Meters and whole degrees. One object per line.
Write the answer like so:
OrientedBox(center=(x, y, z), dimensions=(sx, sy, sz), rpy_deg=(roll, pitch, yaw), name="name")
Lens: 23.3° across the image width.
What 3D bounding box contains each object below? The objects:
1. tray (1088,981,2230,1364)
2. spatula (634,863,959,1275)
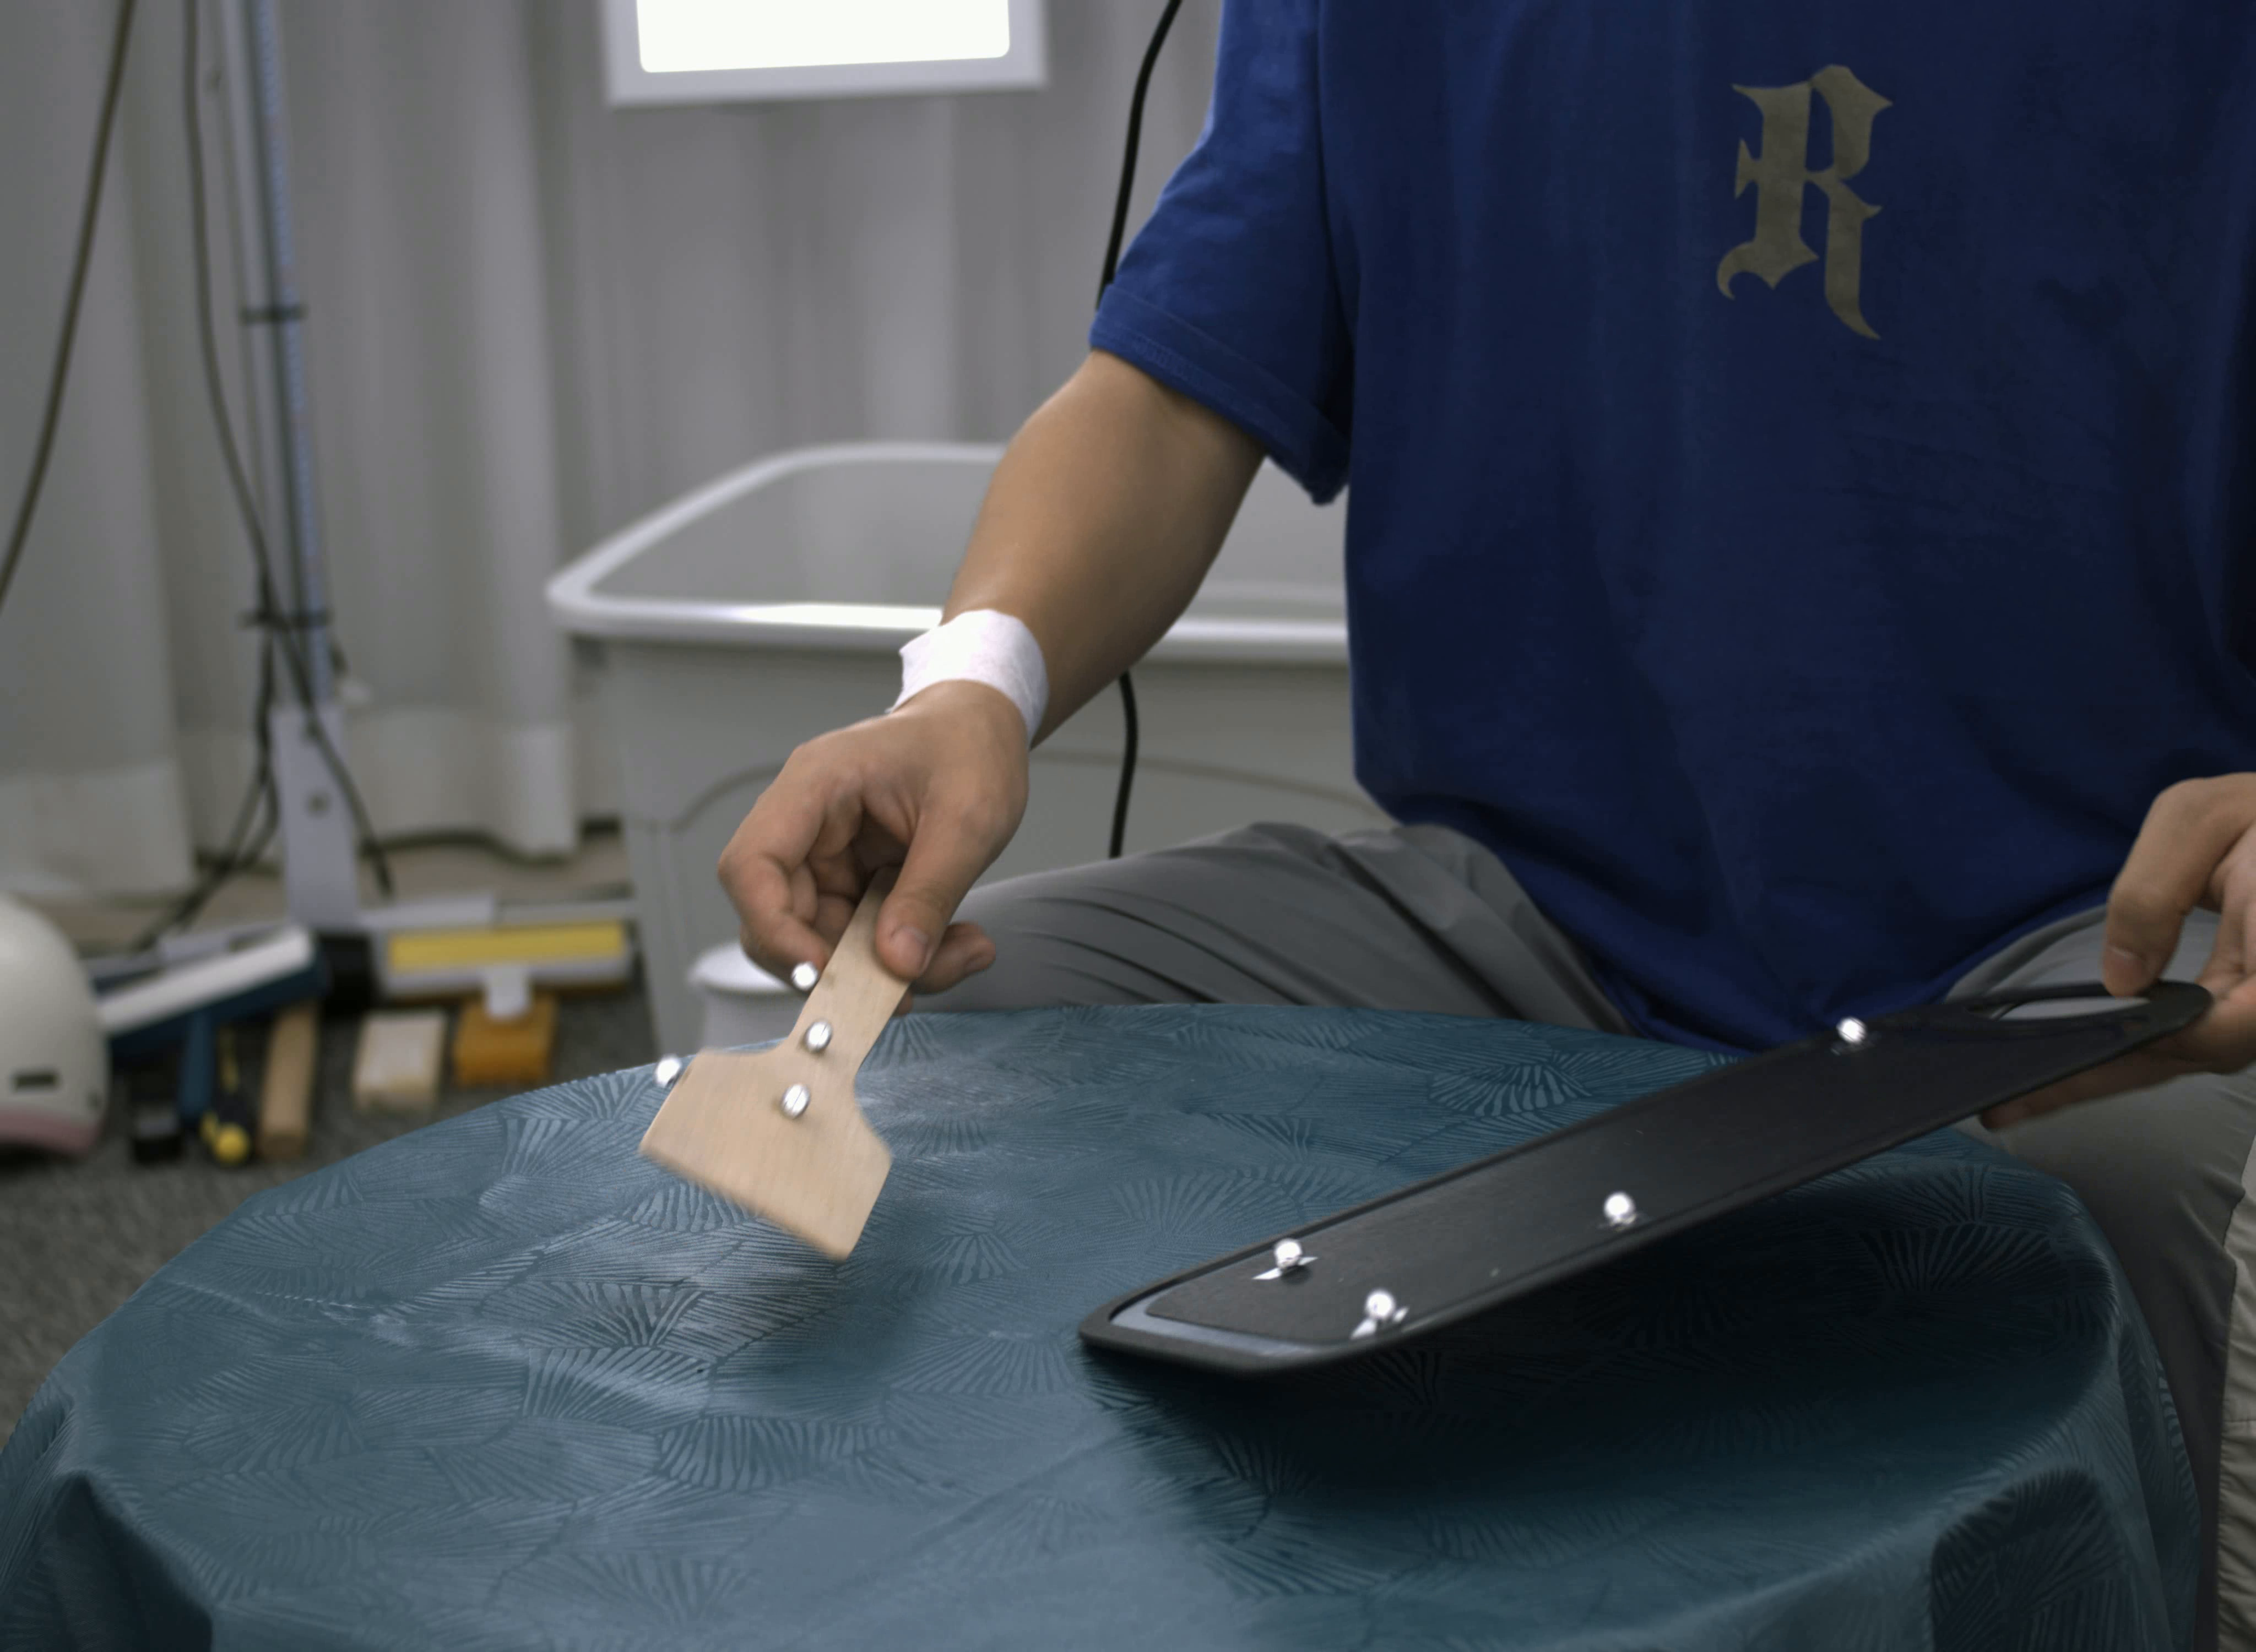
OrientedBox(center=(0.154, 0.094, 1.561), dimensions=(0.324, 0.010, 0.211), rpy_deg=(-18, 4, -19), name="tray")
OrientedBox(center=(-0.093, 0.067, 1.717), dimensions=(0.072, 0.010, 0.295), rpy_deg=(27, 21, -1), name="spatula")
